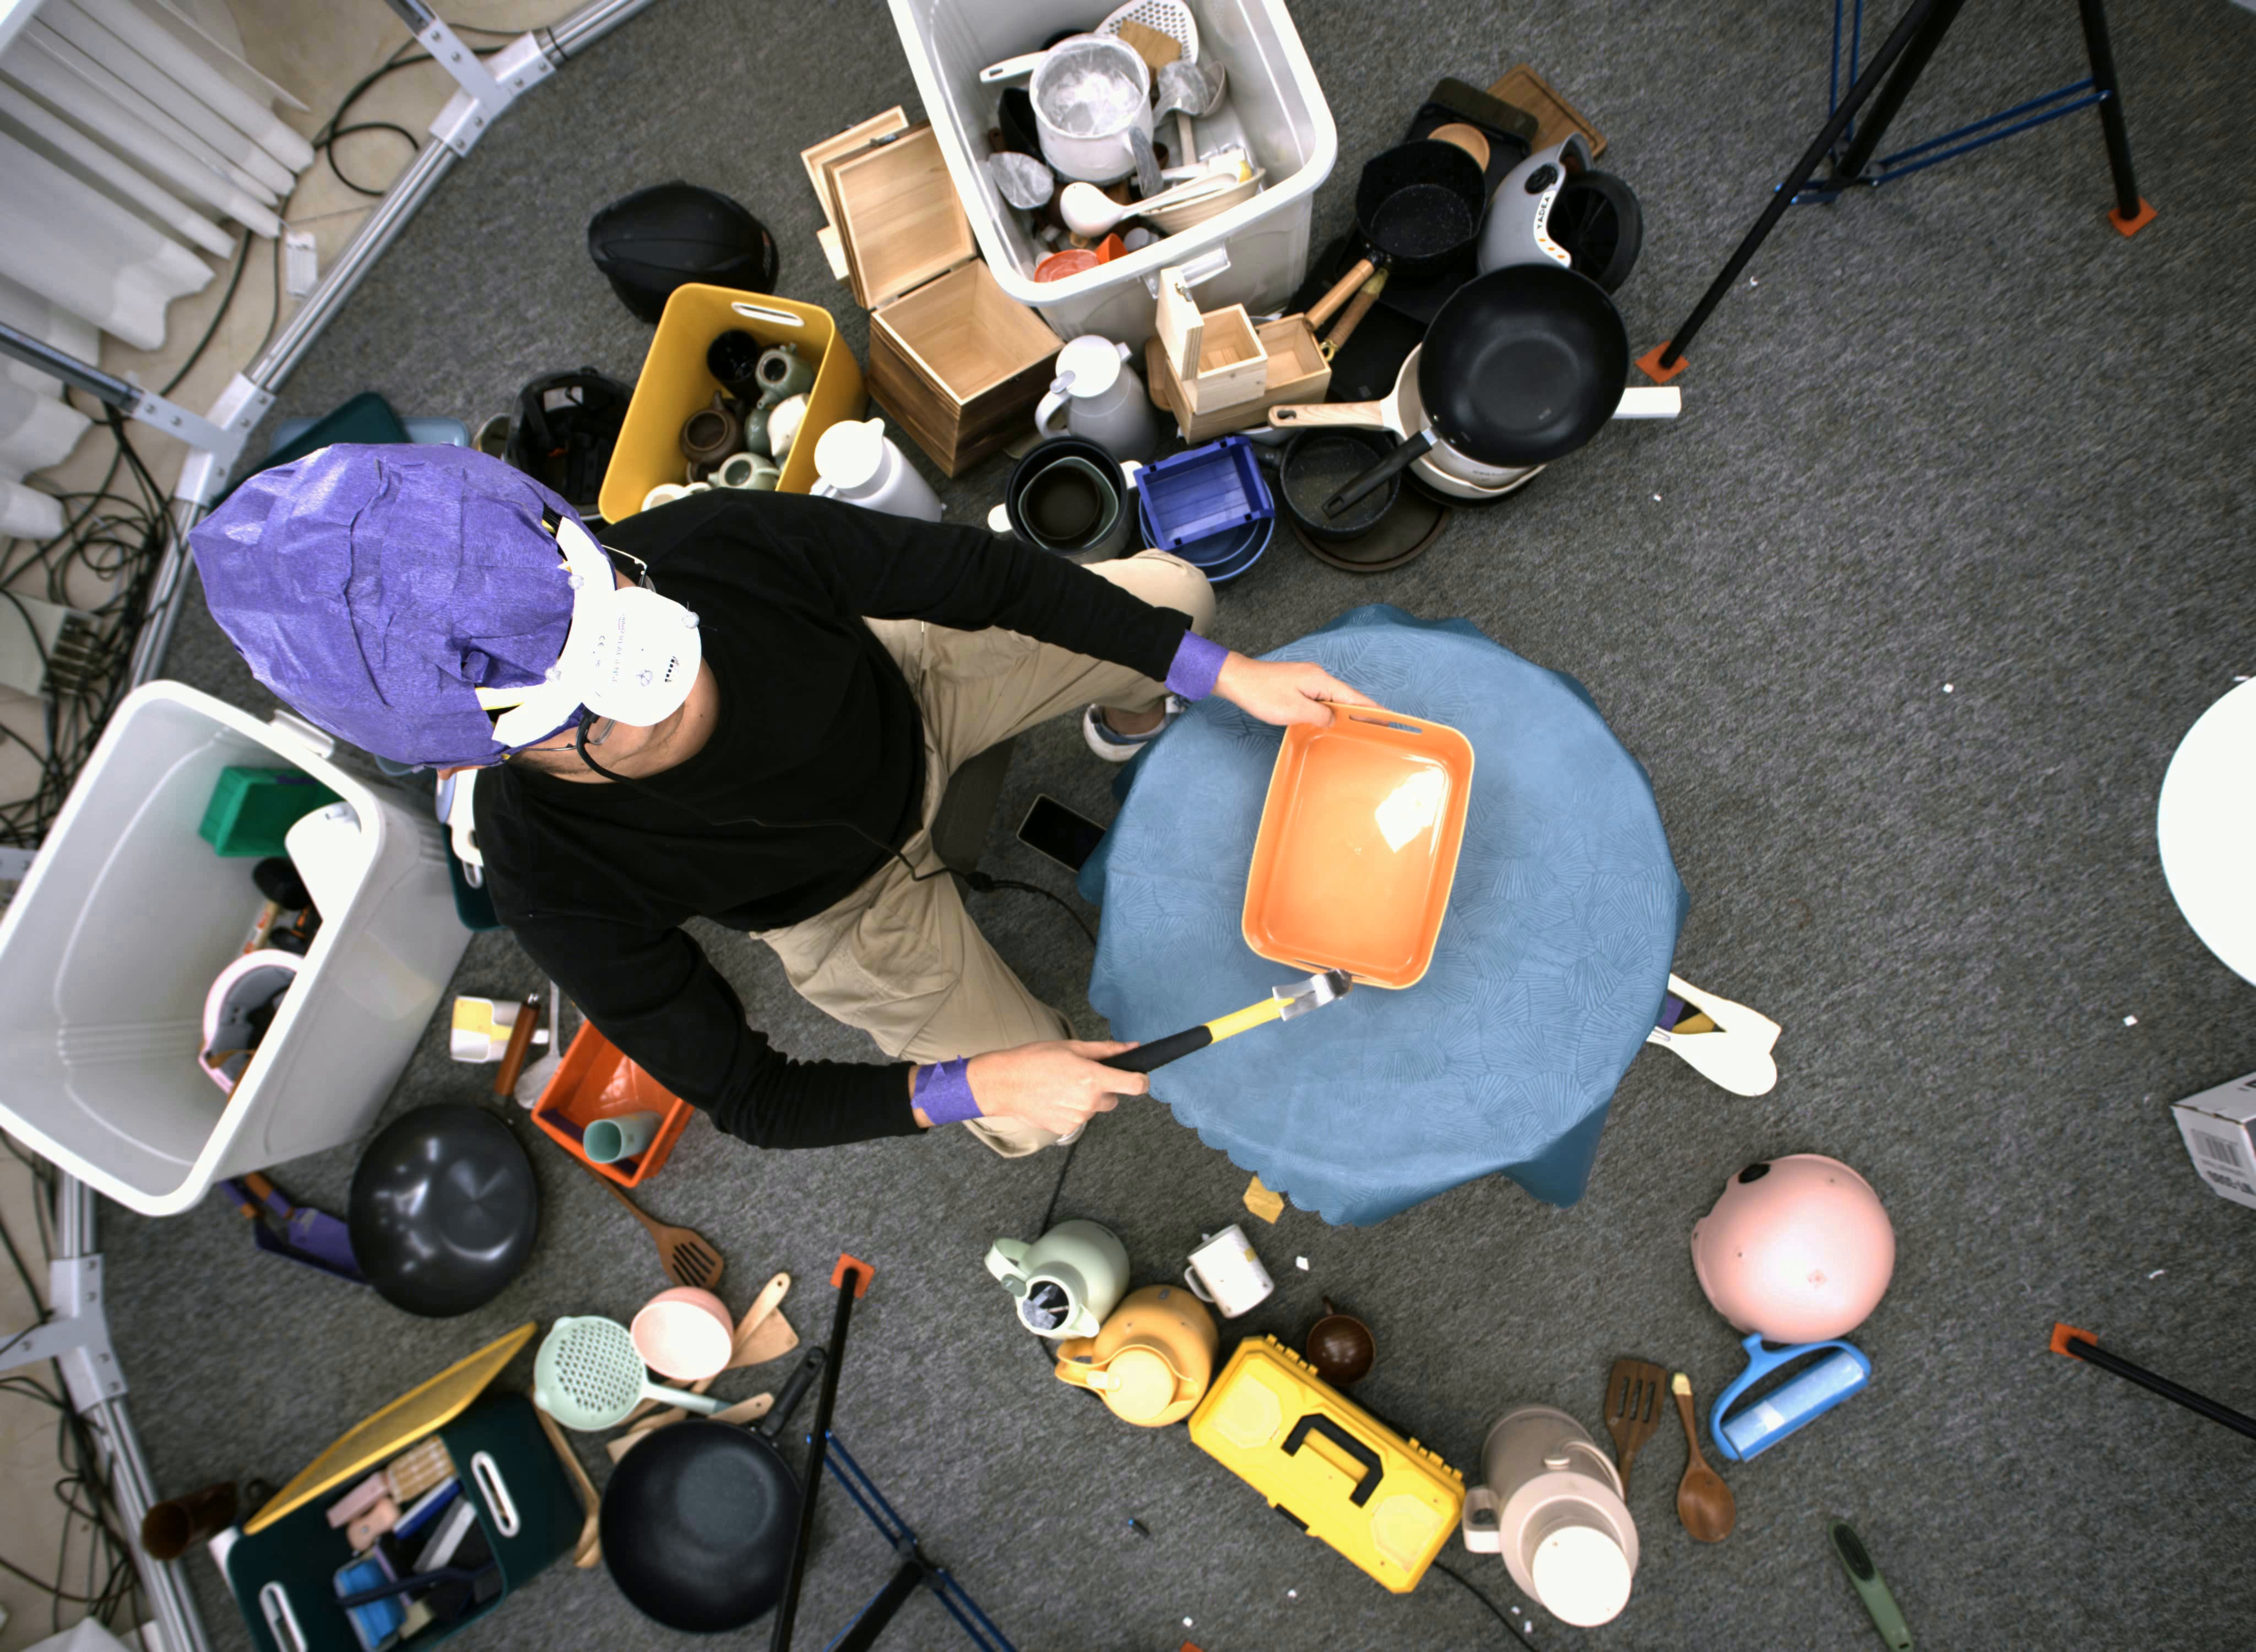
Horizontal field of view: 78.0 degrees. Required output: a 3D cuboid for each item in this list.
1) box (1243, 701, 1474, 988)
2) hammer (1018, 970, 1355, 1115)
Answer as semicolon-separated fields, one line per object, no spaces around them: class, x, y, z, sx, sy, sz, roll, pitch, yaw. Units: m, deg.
box;0.236;0.021;1.418;0.200;0.102;0.272;13;89;12
hammer;0.049;0.205;1.318;0.342;0.131;0.032;-23;80;15
